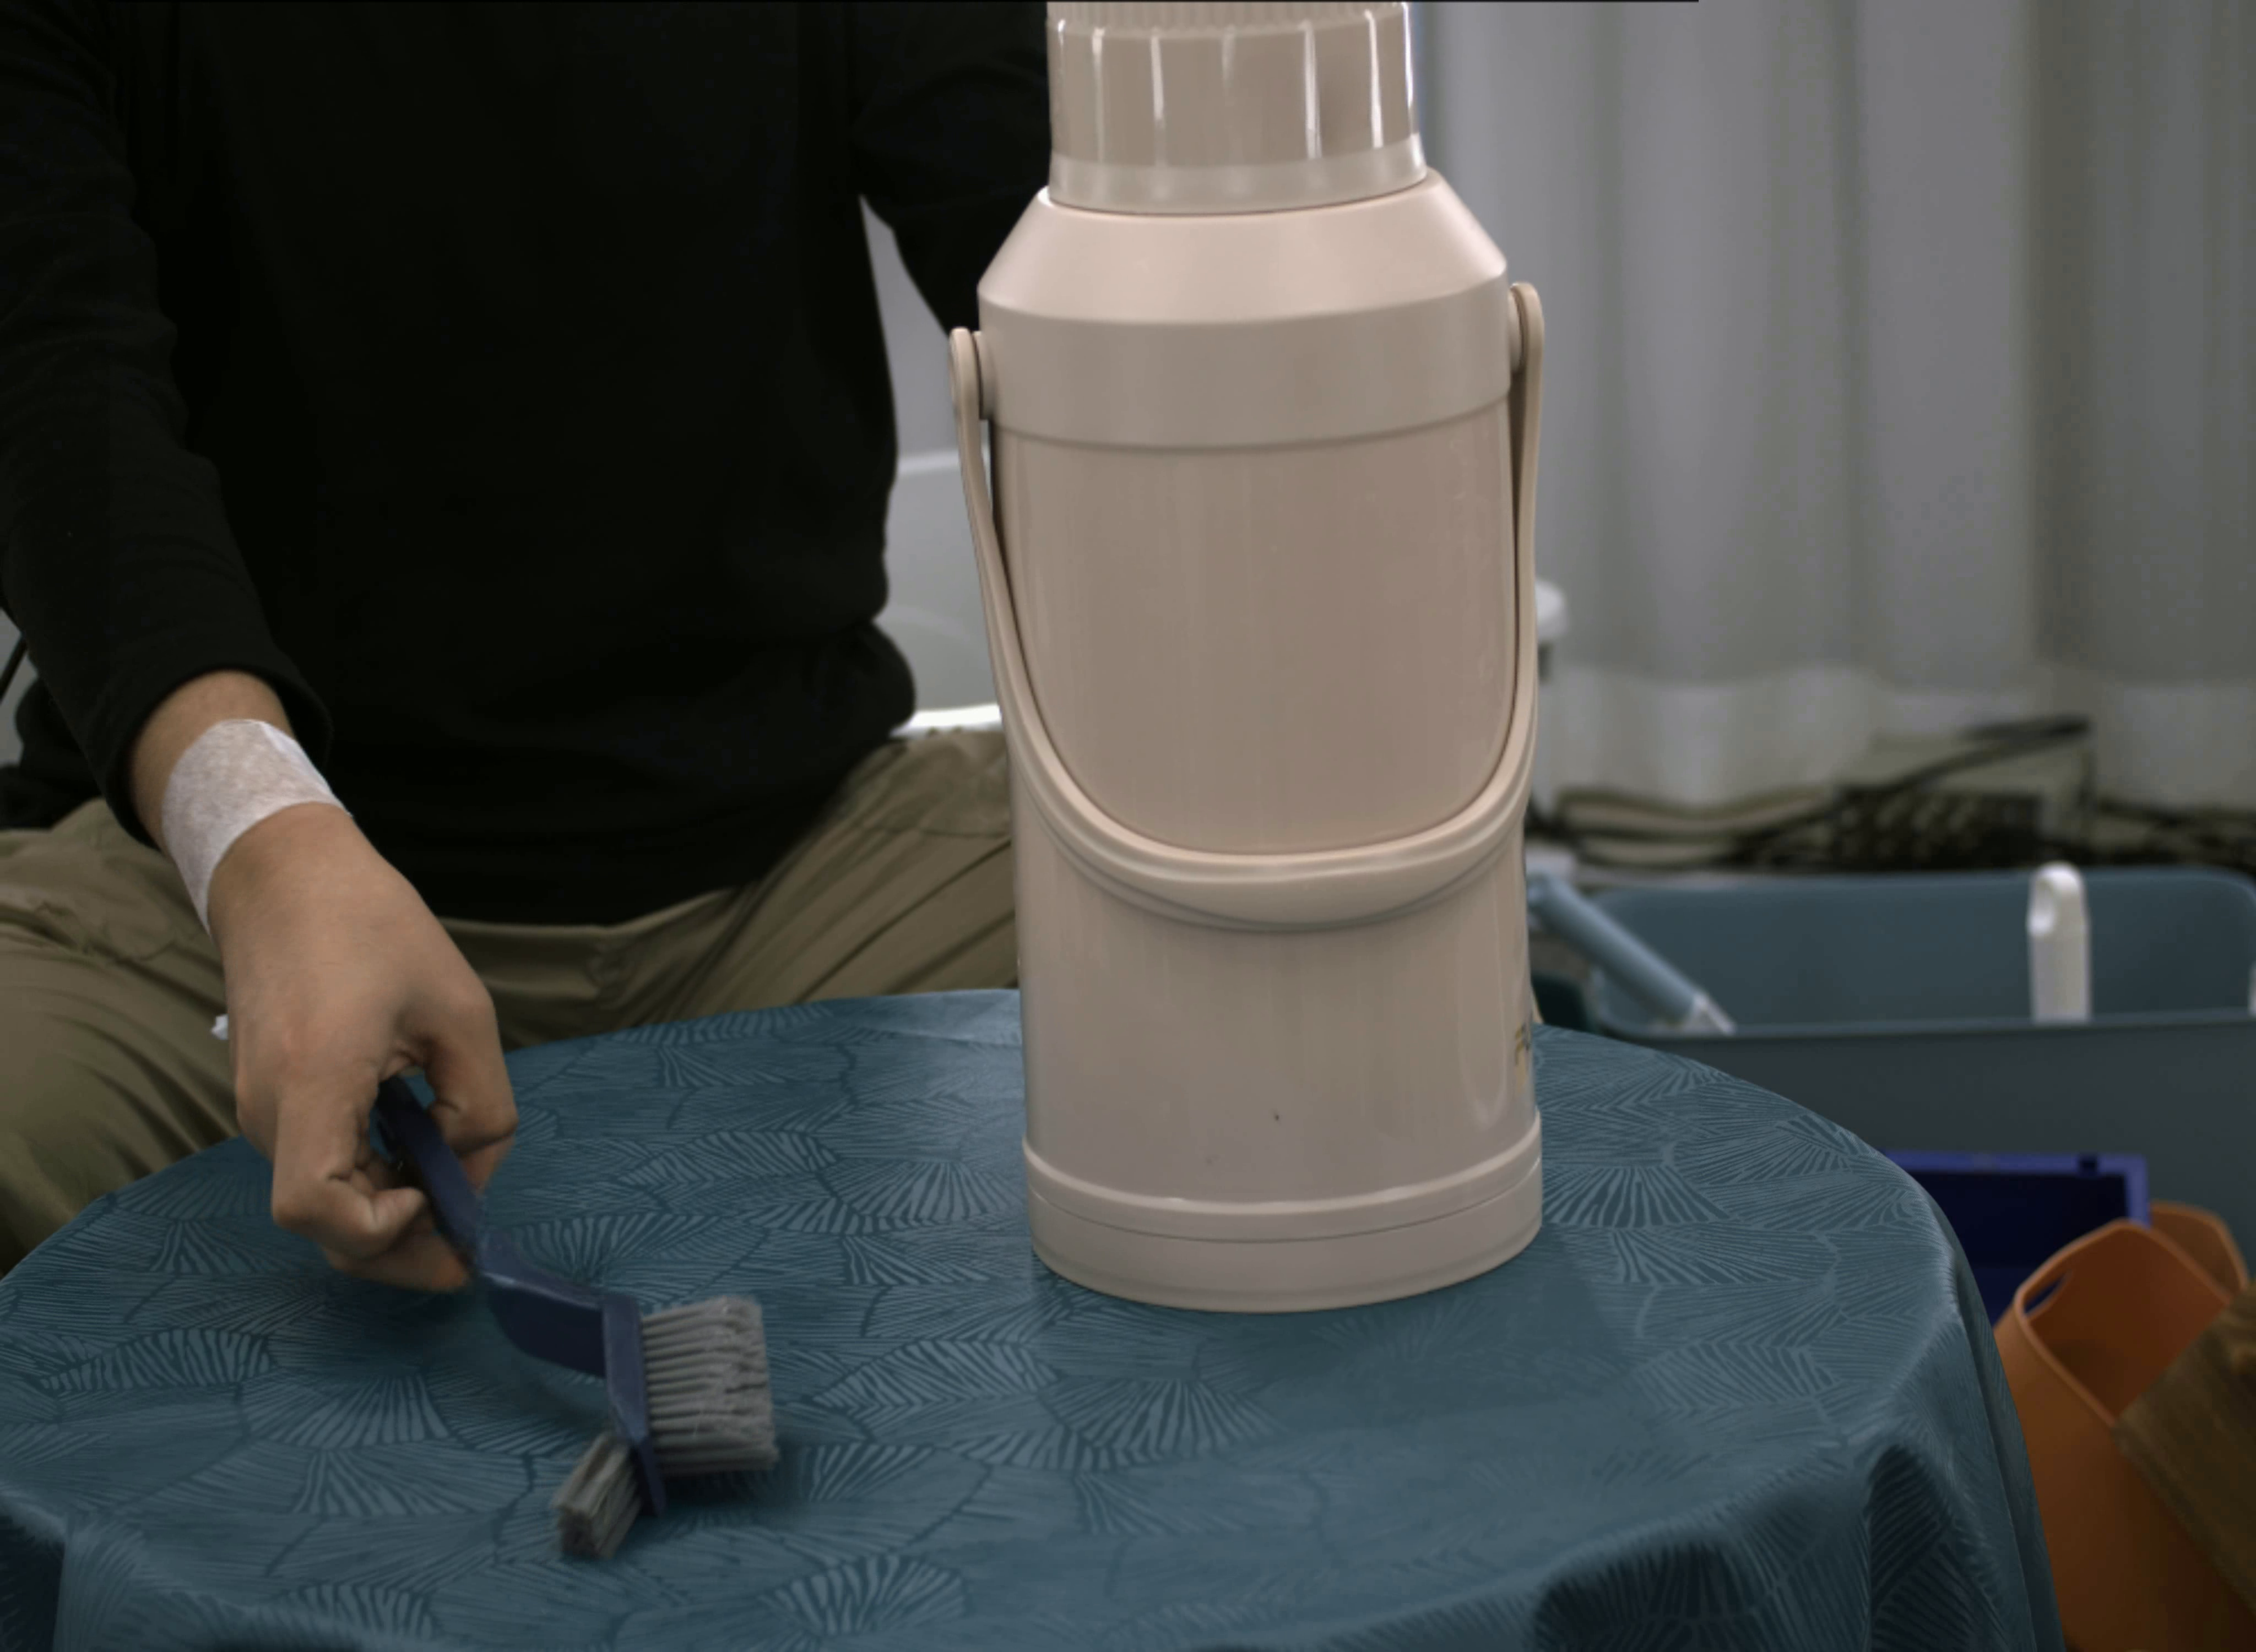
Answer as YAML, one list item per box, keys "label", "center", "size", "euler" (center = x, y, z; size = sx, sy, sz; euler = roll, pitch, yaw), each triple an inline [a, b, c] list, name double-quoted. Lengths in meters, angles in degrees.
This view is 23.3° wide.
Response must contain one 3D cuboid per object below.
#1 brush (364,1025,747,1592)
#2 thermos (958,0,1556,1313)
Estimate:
- label: "brush"
  center: [-0.185, 0.131, 1.567]
  size: [0.095, 0.033, 0.276]
  euler: [-24, 30, -23]
- label: "thermos"
  center: [0.040, -0.073, 1.644]
  size: [0.174, 0.405, 0.208]
  euler: [-7, 14, -9]
